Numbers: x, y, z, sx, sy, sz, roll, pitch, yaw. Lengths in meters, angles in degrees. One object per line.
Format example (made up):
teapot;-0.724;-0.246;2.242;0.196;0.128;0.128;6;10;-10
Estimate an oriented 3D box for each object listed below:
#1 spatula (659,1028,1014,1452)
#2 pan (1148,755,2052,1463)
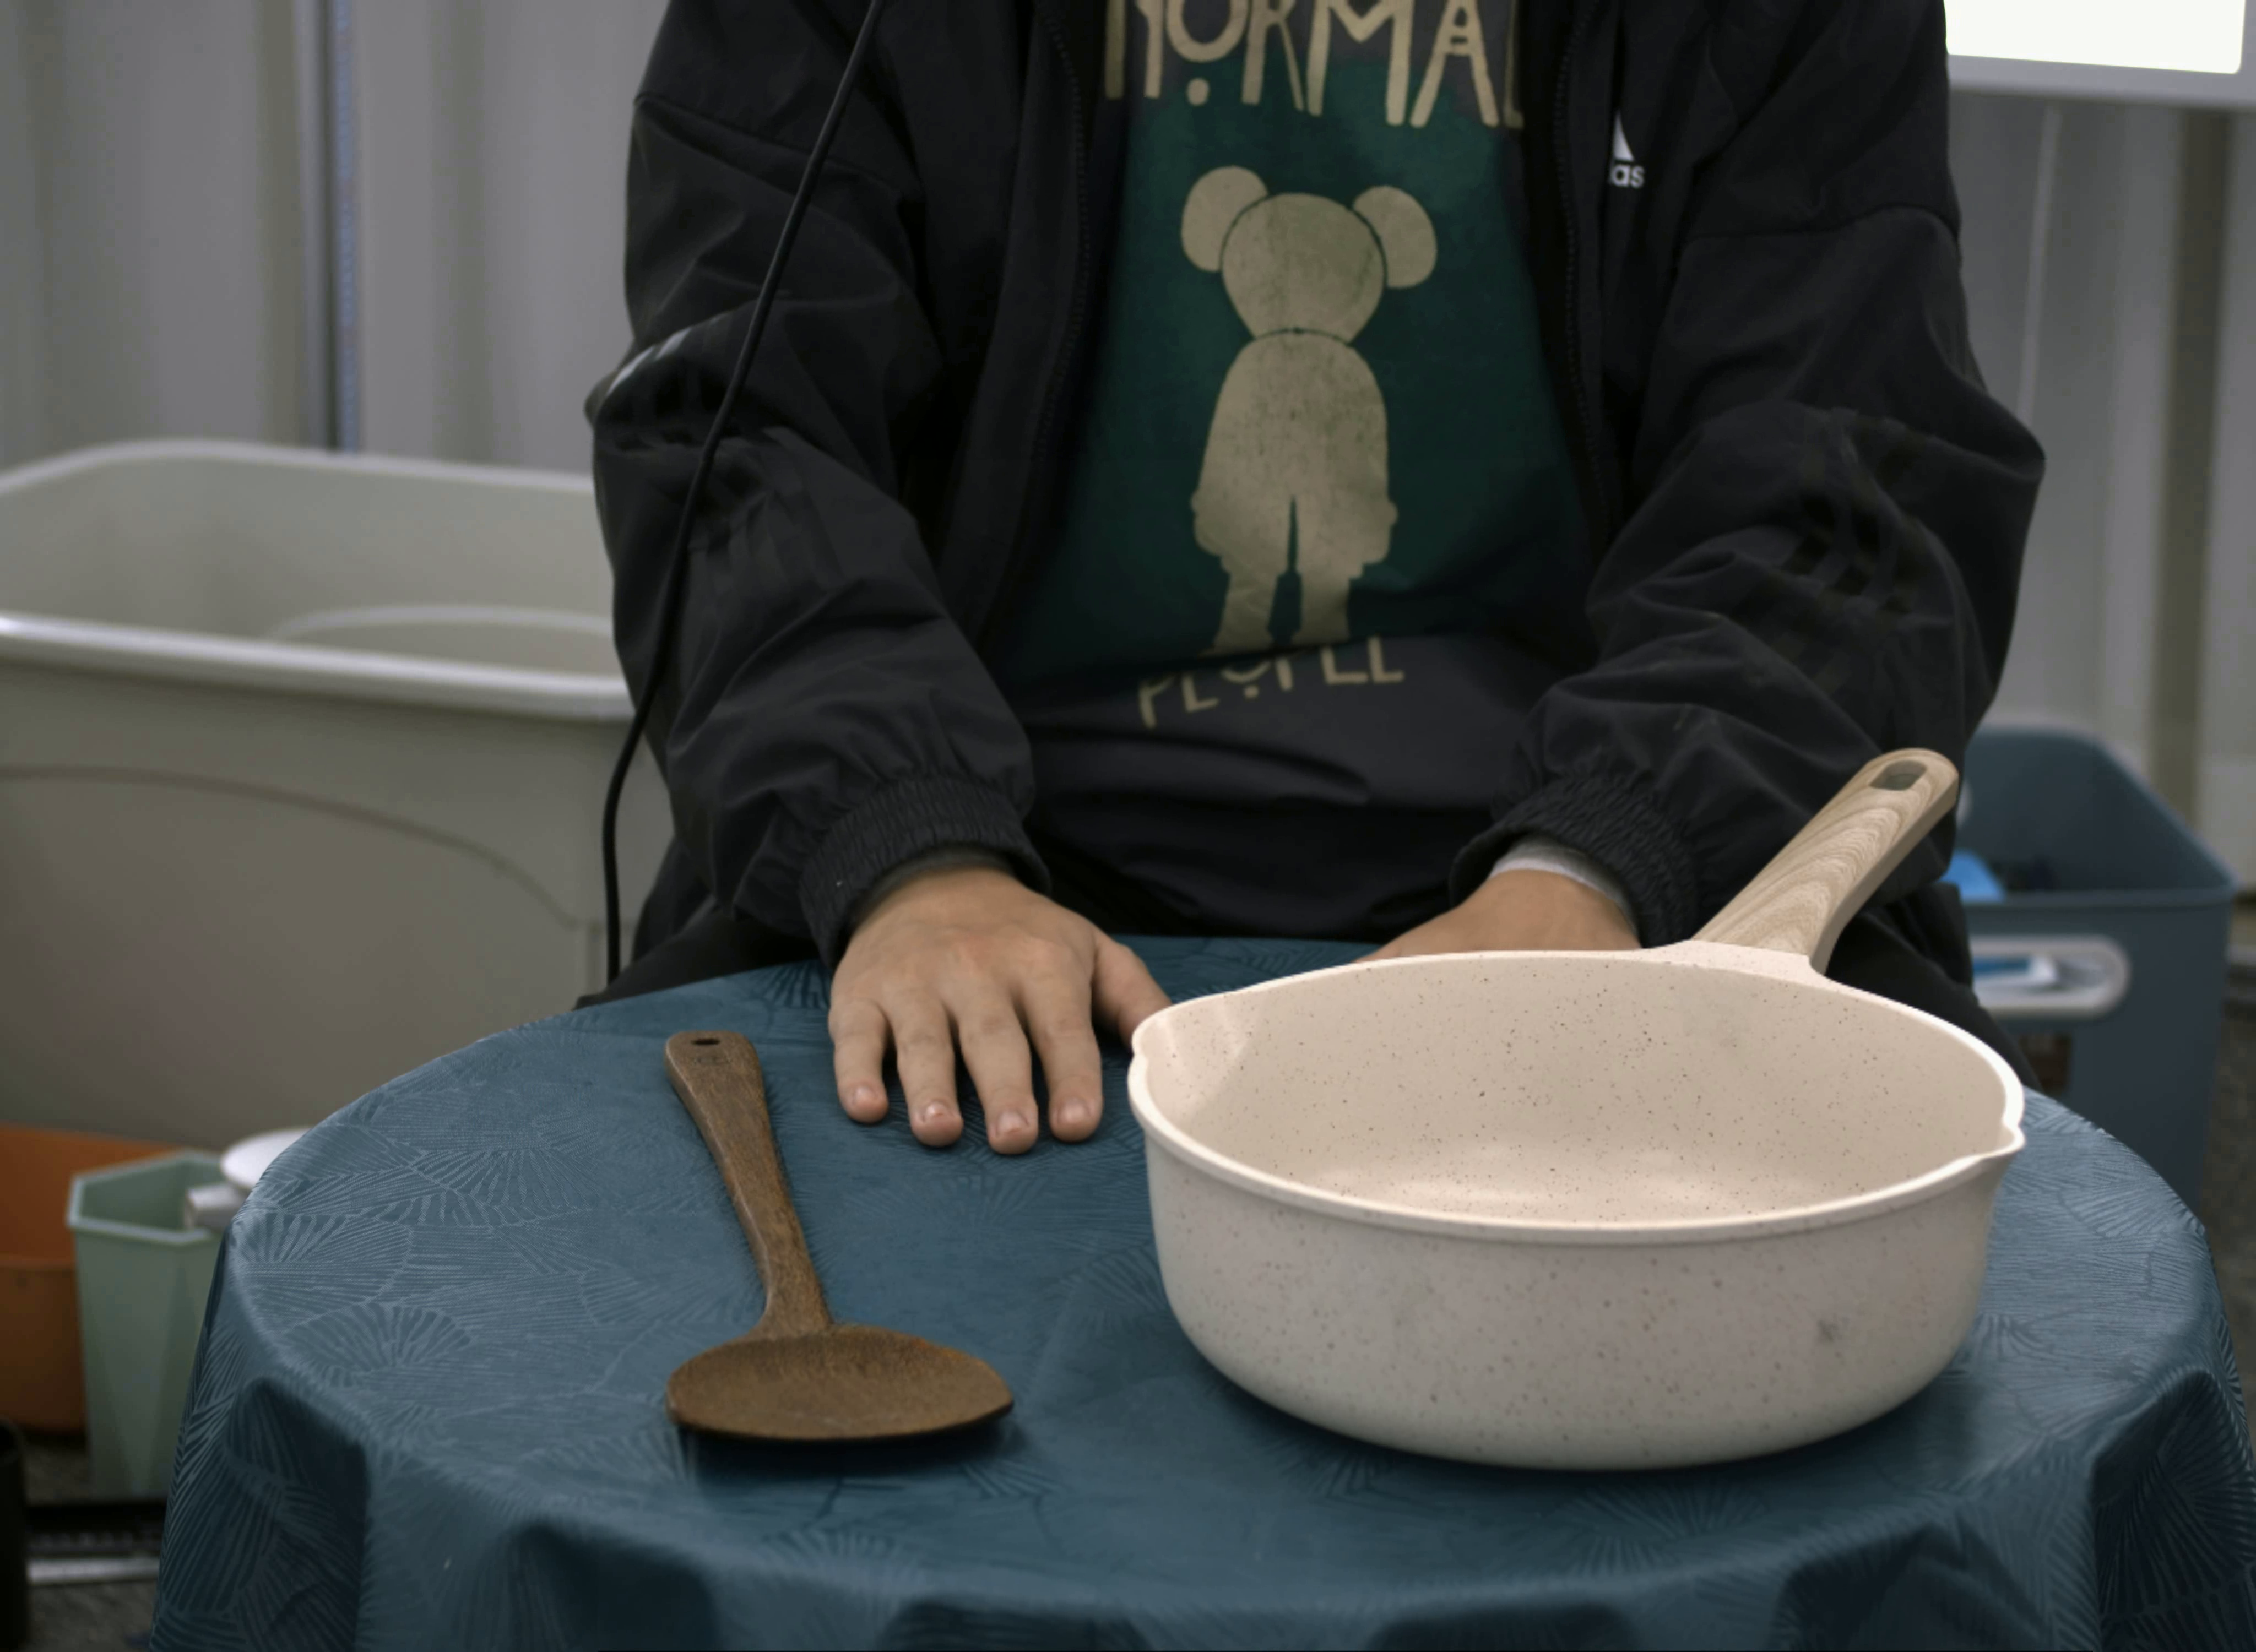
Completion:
spatula;-0.108;0.117;1.576;0.096;0.016;0.382;-2;15;-11
pan;0.171;0.078;1.562;0.260;0.103;0.436;6;17;25
